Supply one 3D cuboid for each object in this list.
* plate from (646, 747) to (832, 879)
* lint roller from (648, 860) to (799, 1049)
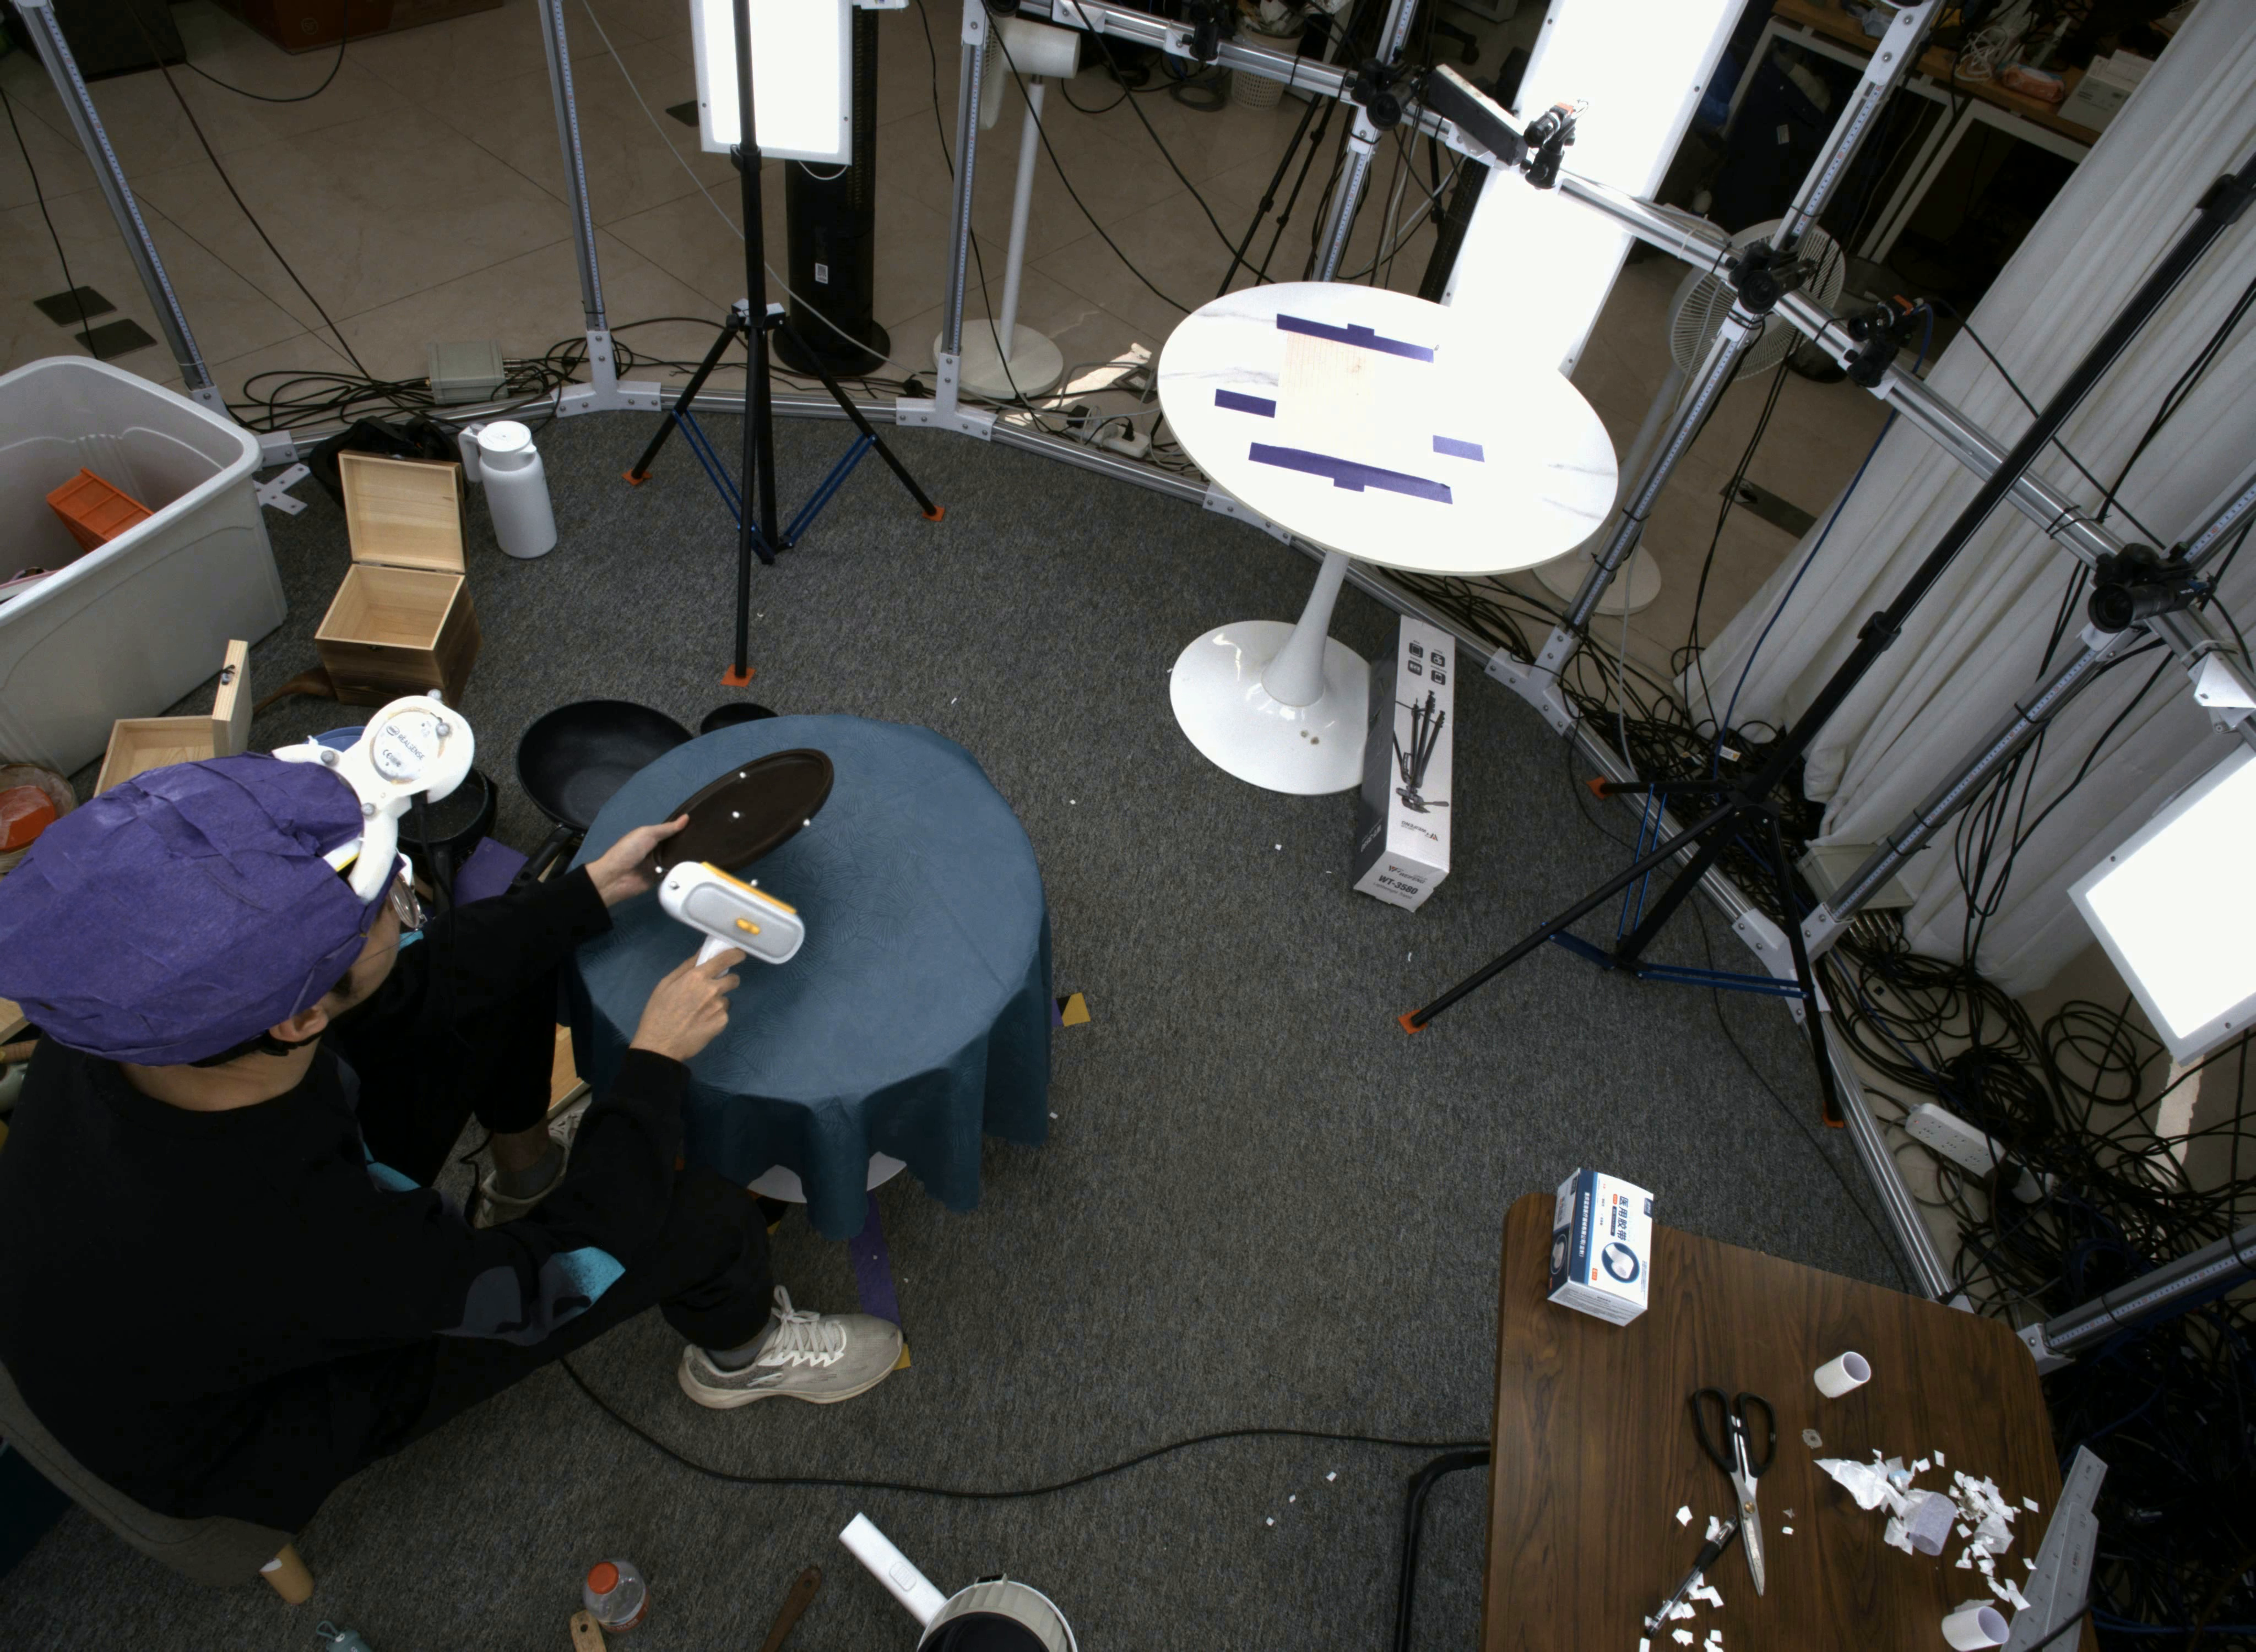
[{"bbox_3d":[-0.471,-0.016,1.571,0.250,0.030,0.249,-17,33,14],"label":"plate"},{"bbox_3d":[-0.478,0.154,1.473,0.071,0.199,0.193,19,82,35],"label":"lint roller"}]
